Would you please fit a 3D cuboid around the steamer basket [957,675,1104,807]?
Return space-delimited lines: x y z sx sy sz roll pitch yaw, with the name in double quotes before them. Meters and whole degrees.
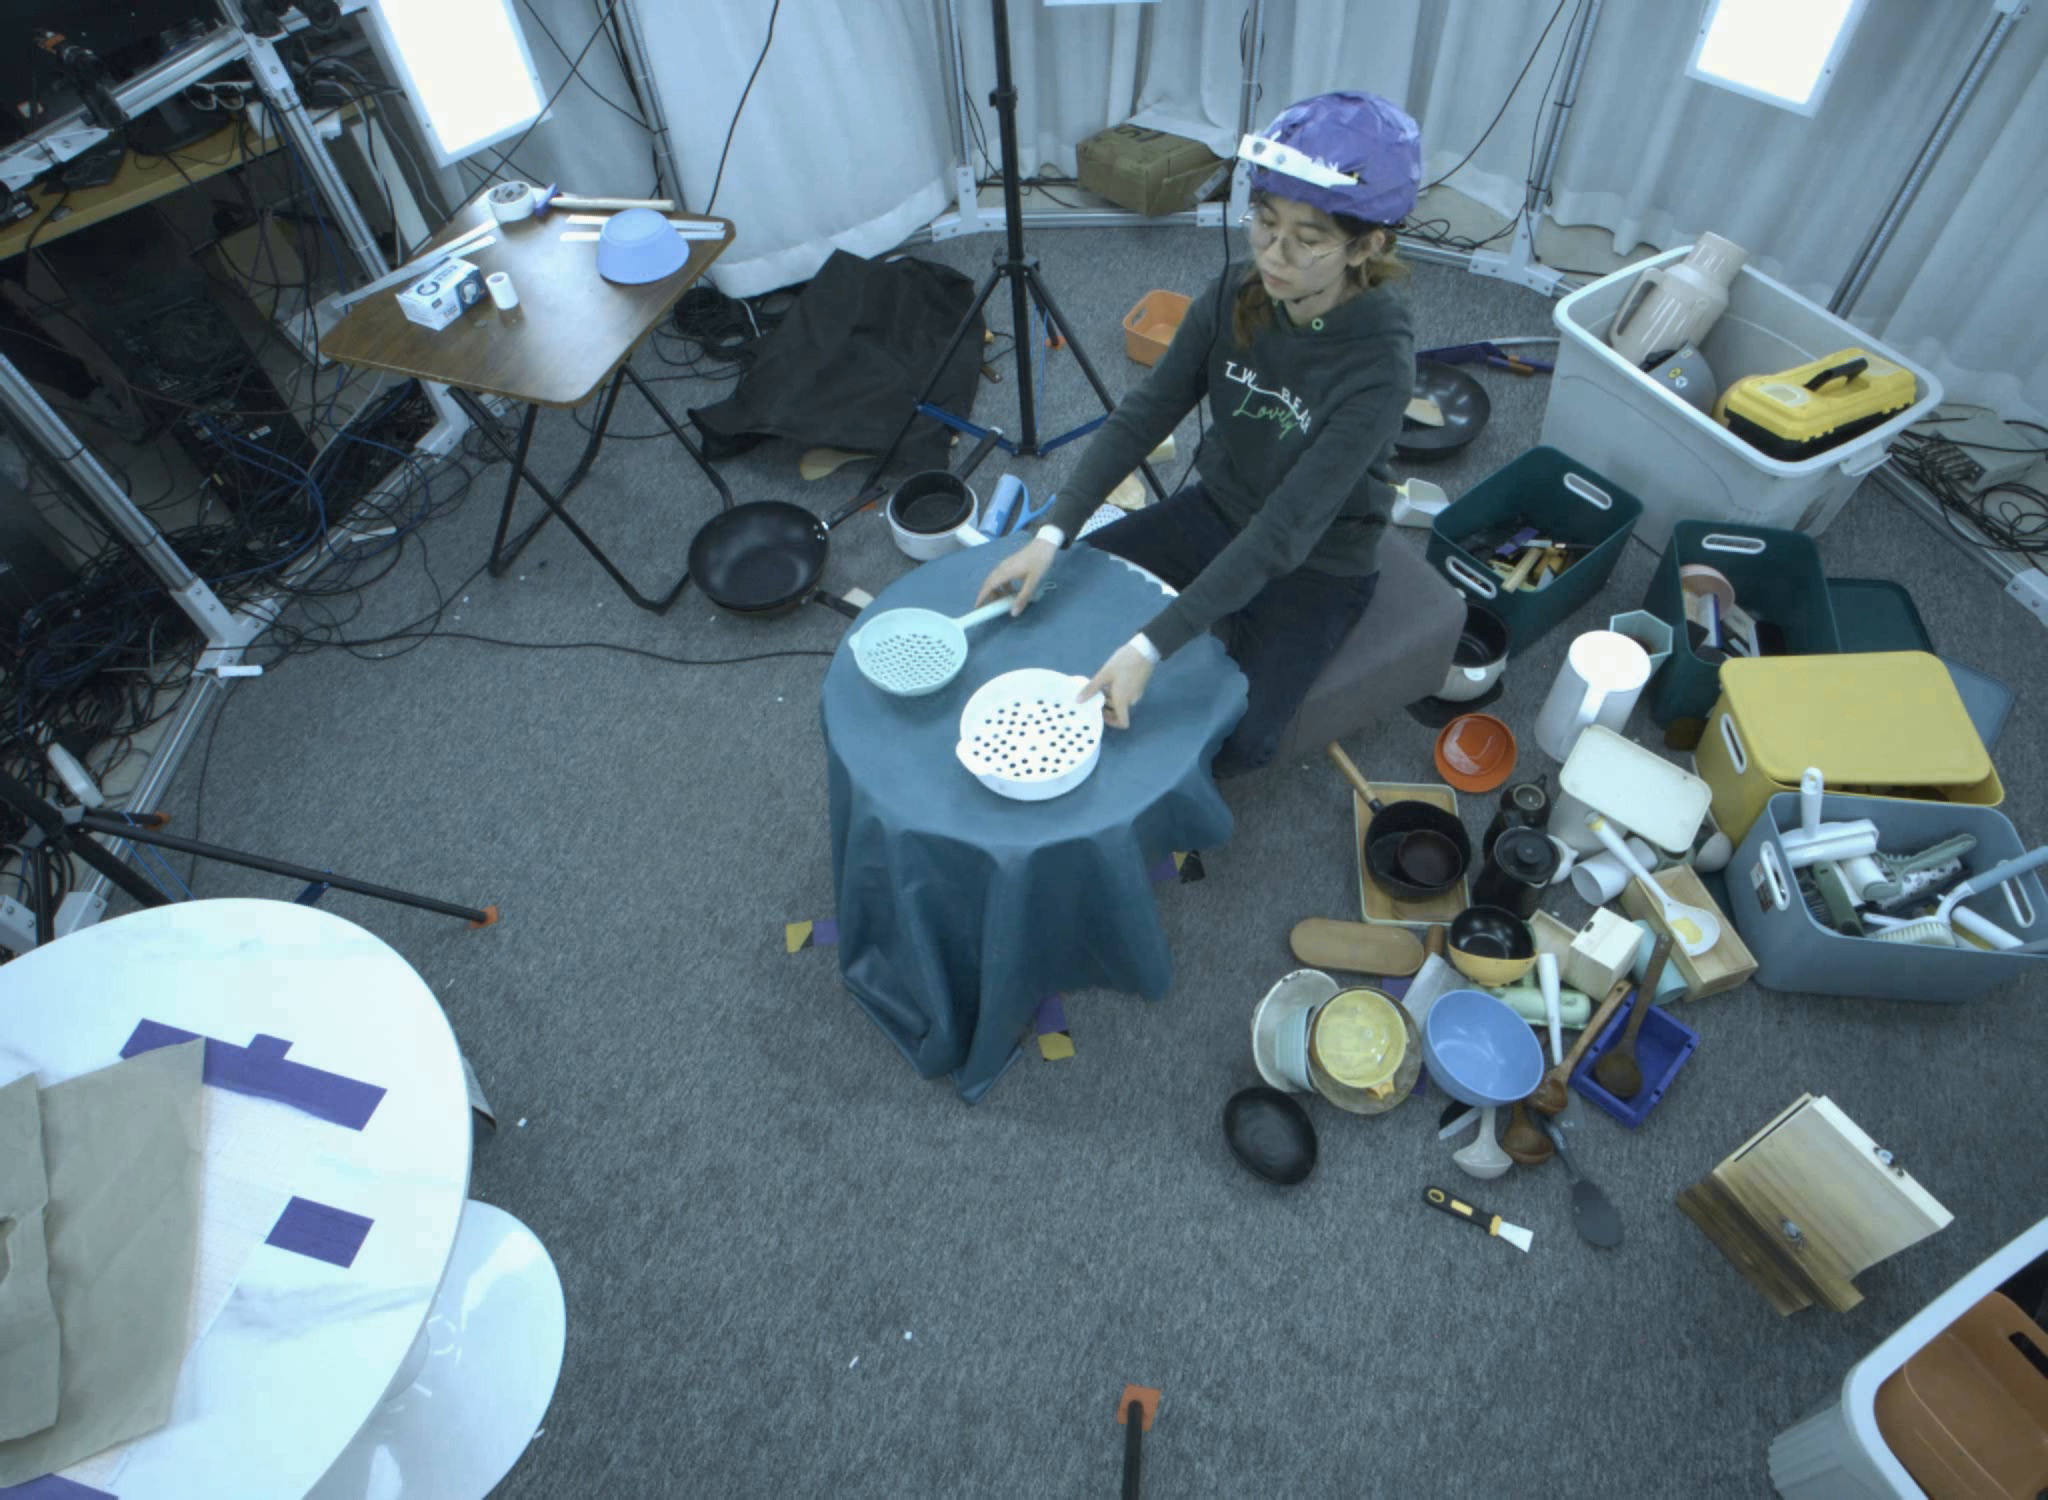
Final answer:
"steamer basket" 0.011 -0.012 1.767 0.232 0.070 0.198 -32 61 -19

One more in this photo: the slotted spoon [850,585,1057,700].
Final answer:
"slotted spoon" -0.093 -0.185 1.891 0.361 0.076 0.166 -34 62 -20
